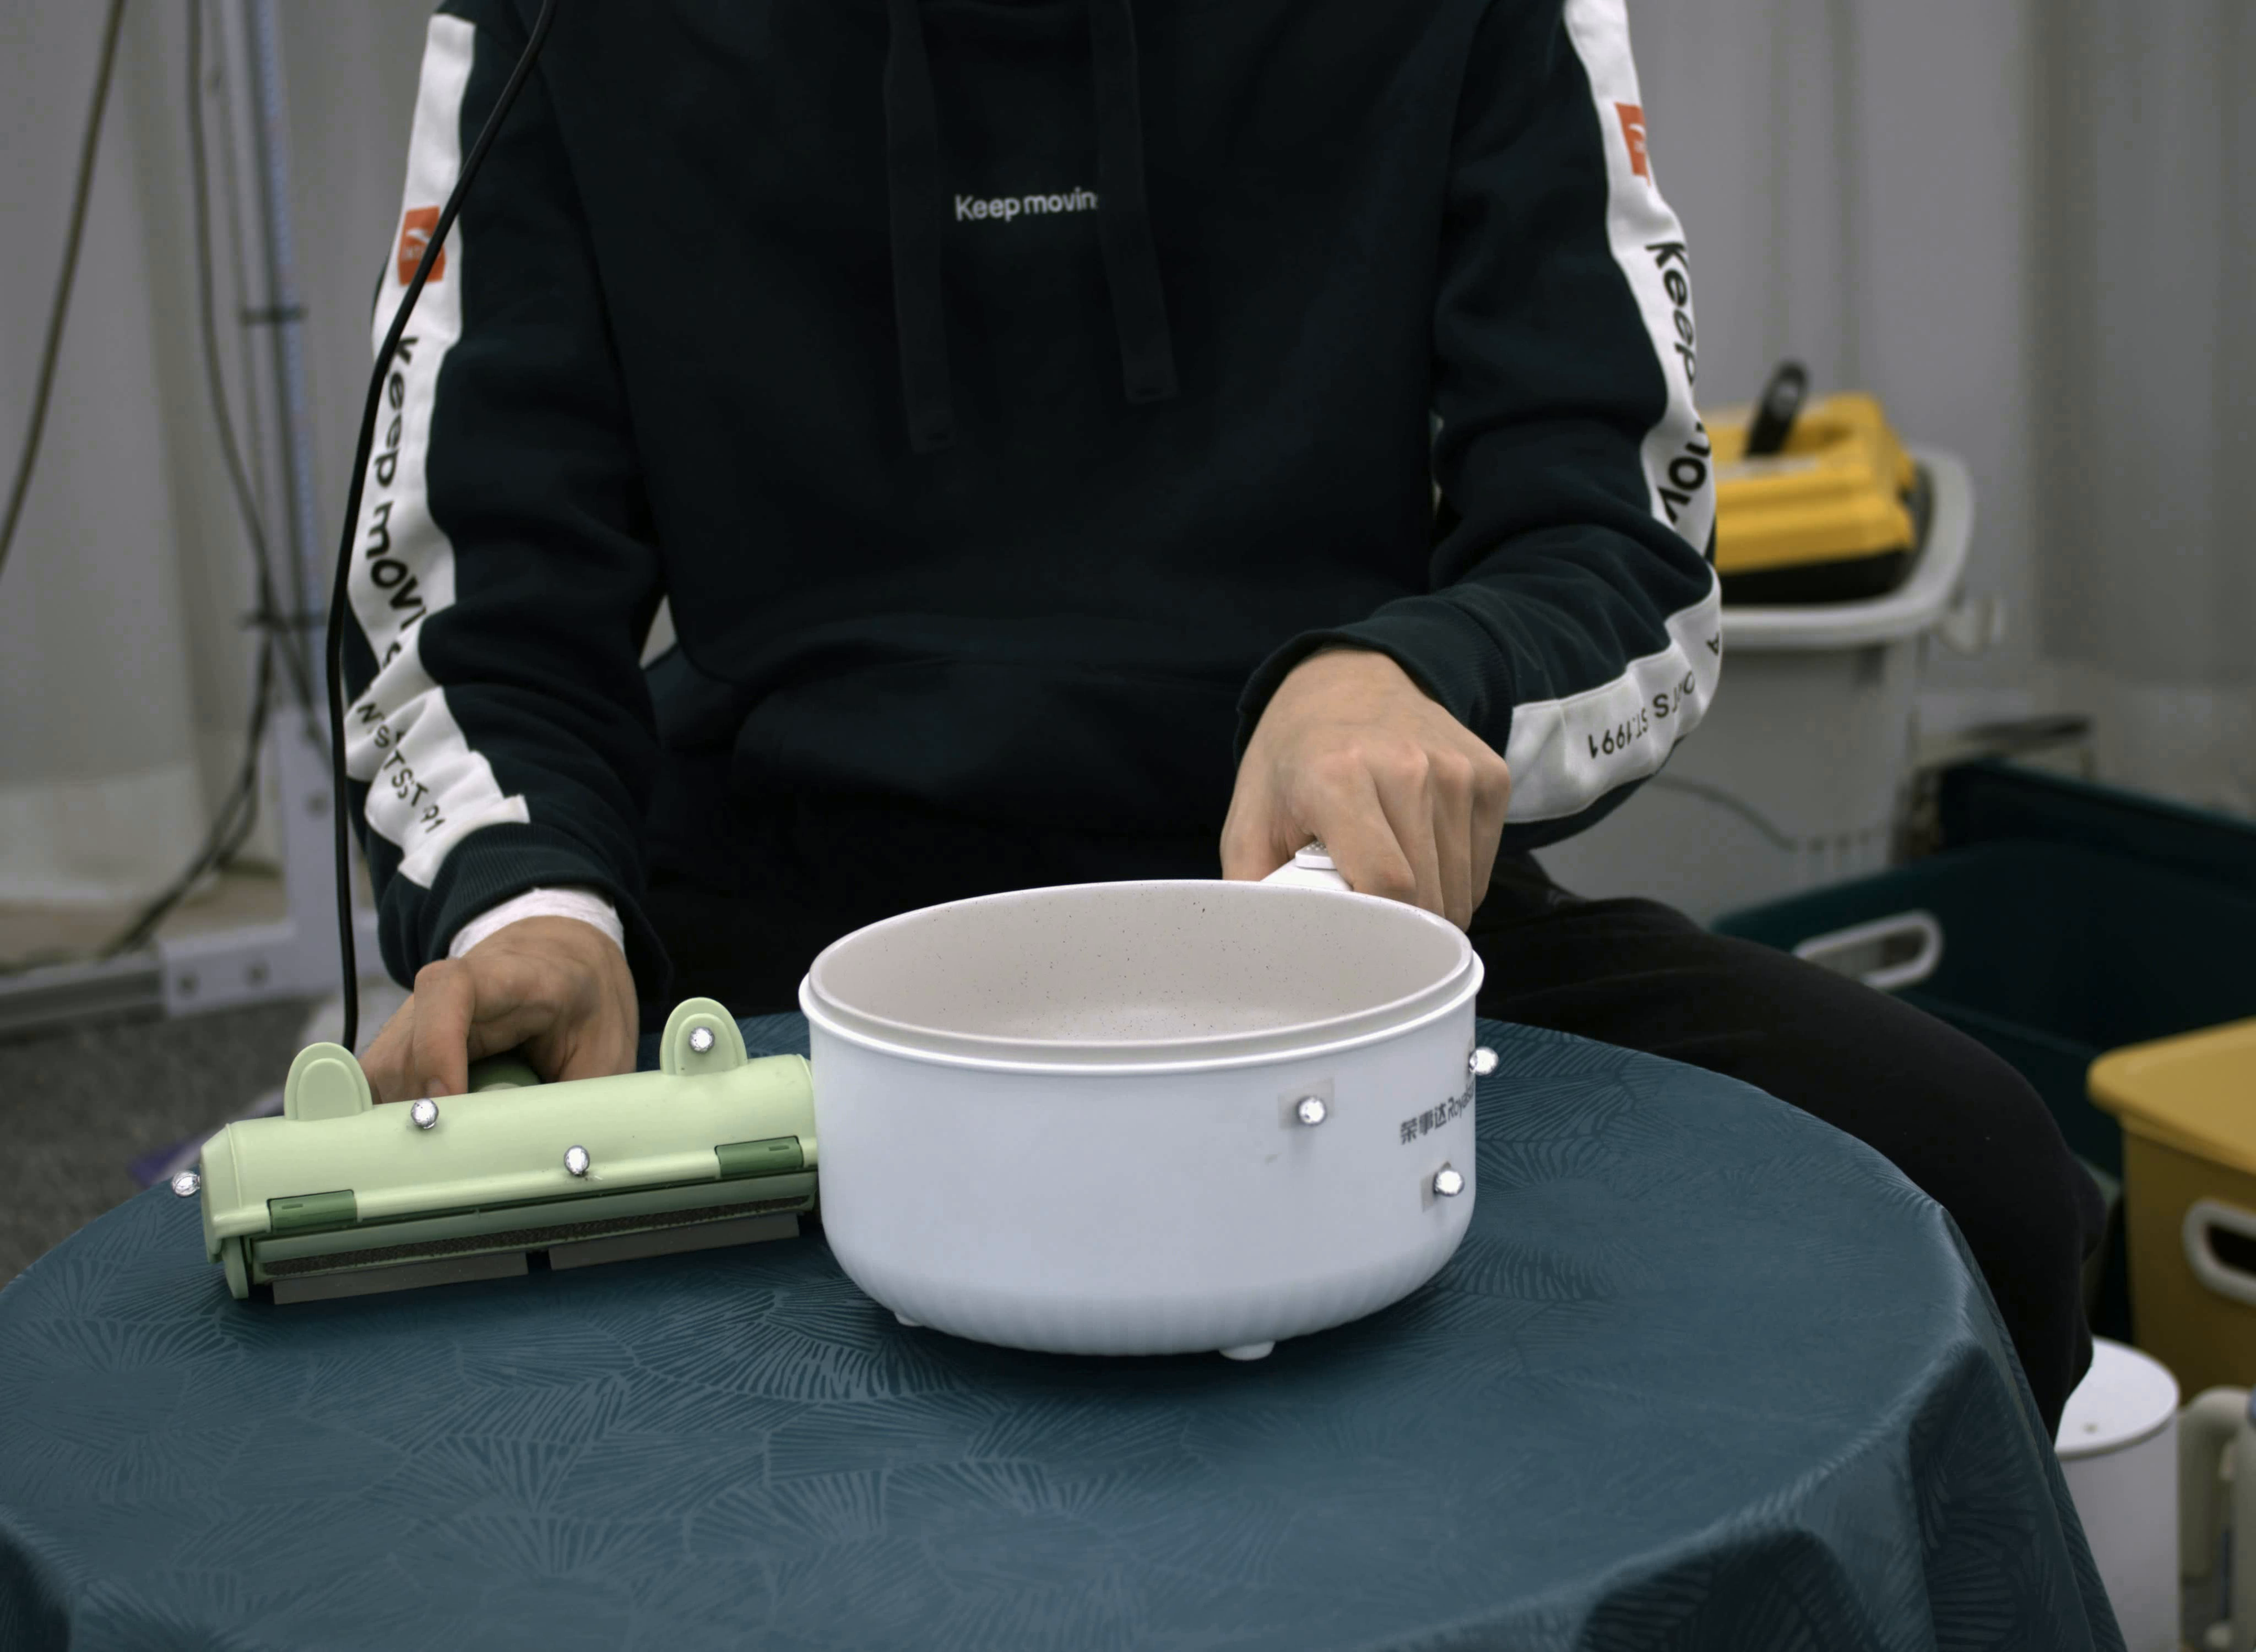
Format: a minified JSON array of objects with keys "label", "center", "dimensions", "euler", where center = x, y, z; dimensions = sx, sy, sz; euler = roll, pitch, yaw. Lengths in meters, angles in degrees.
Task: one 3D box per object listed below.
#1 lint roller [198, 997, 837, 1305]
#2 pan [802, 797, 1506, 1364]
[{"label":"lint roller","center":[-0.197,0.083,1.725],"dimensions":[0.198,0.081,0.185],"euler":[-7,20,-12]},{"label":"pan","center":[0.037,0.073,1.680],"dimensions":[0.201,0.102,0.355],"euler":[3,13,24]}]
